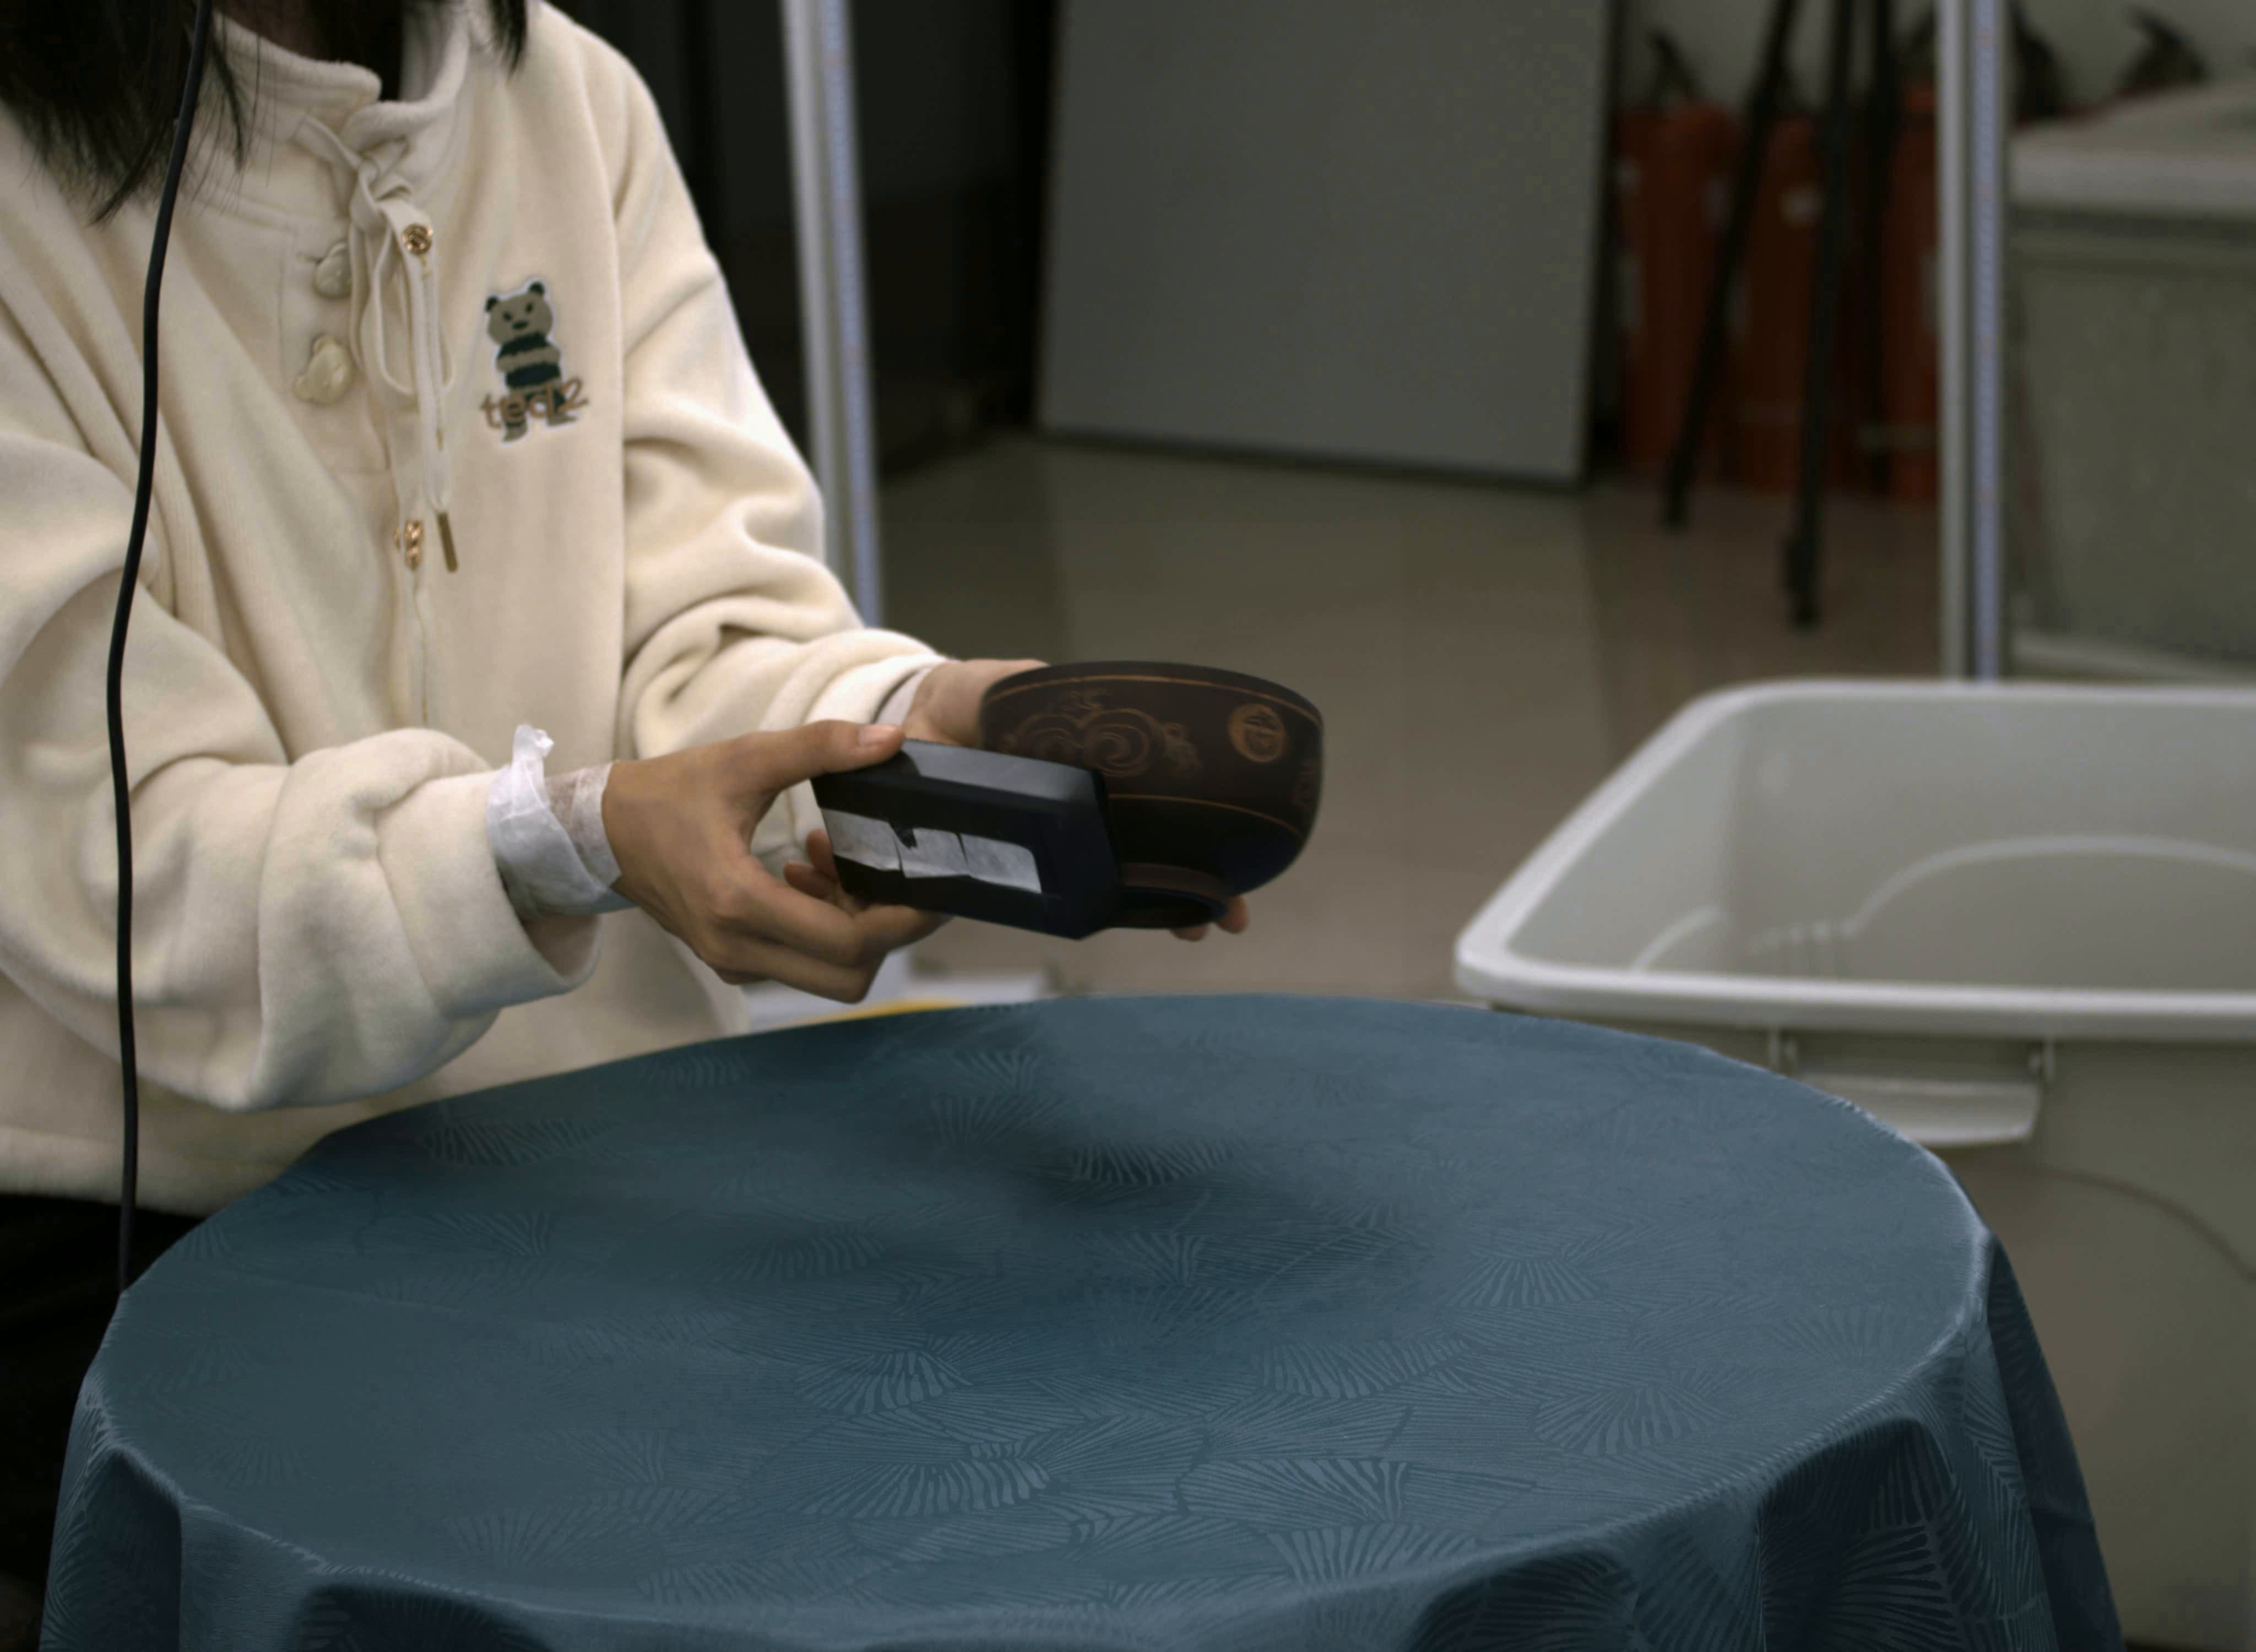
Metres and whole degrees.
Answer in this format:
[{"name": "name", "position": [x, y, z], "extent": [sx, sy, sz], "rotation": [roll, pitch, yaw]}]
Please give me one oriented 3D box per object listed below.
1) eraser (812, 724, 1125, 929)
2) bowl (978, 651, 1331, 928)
[{"name": "eraser", "position": [-0.052, -0.001, 1.729], "extent": [0.030, 0.054, 0.127], "rotation": [-25, 19, -33]}, {"name": "bowl", "position": [0.008, -0.007, 1.758], "extent": [0.116, 0.071, 0.118], "rotation": [1, -16, -1]}]
